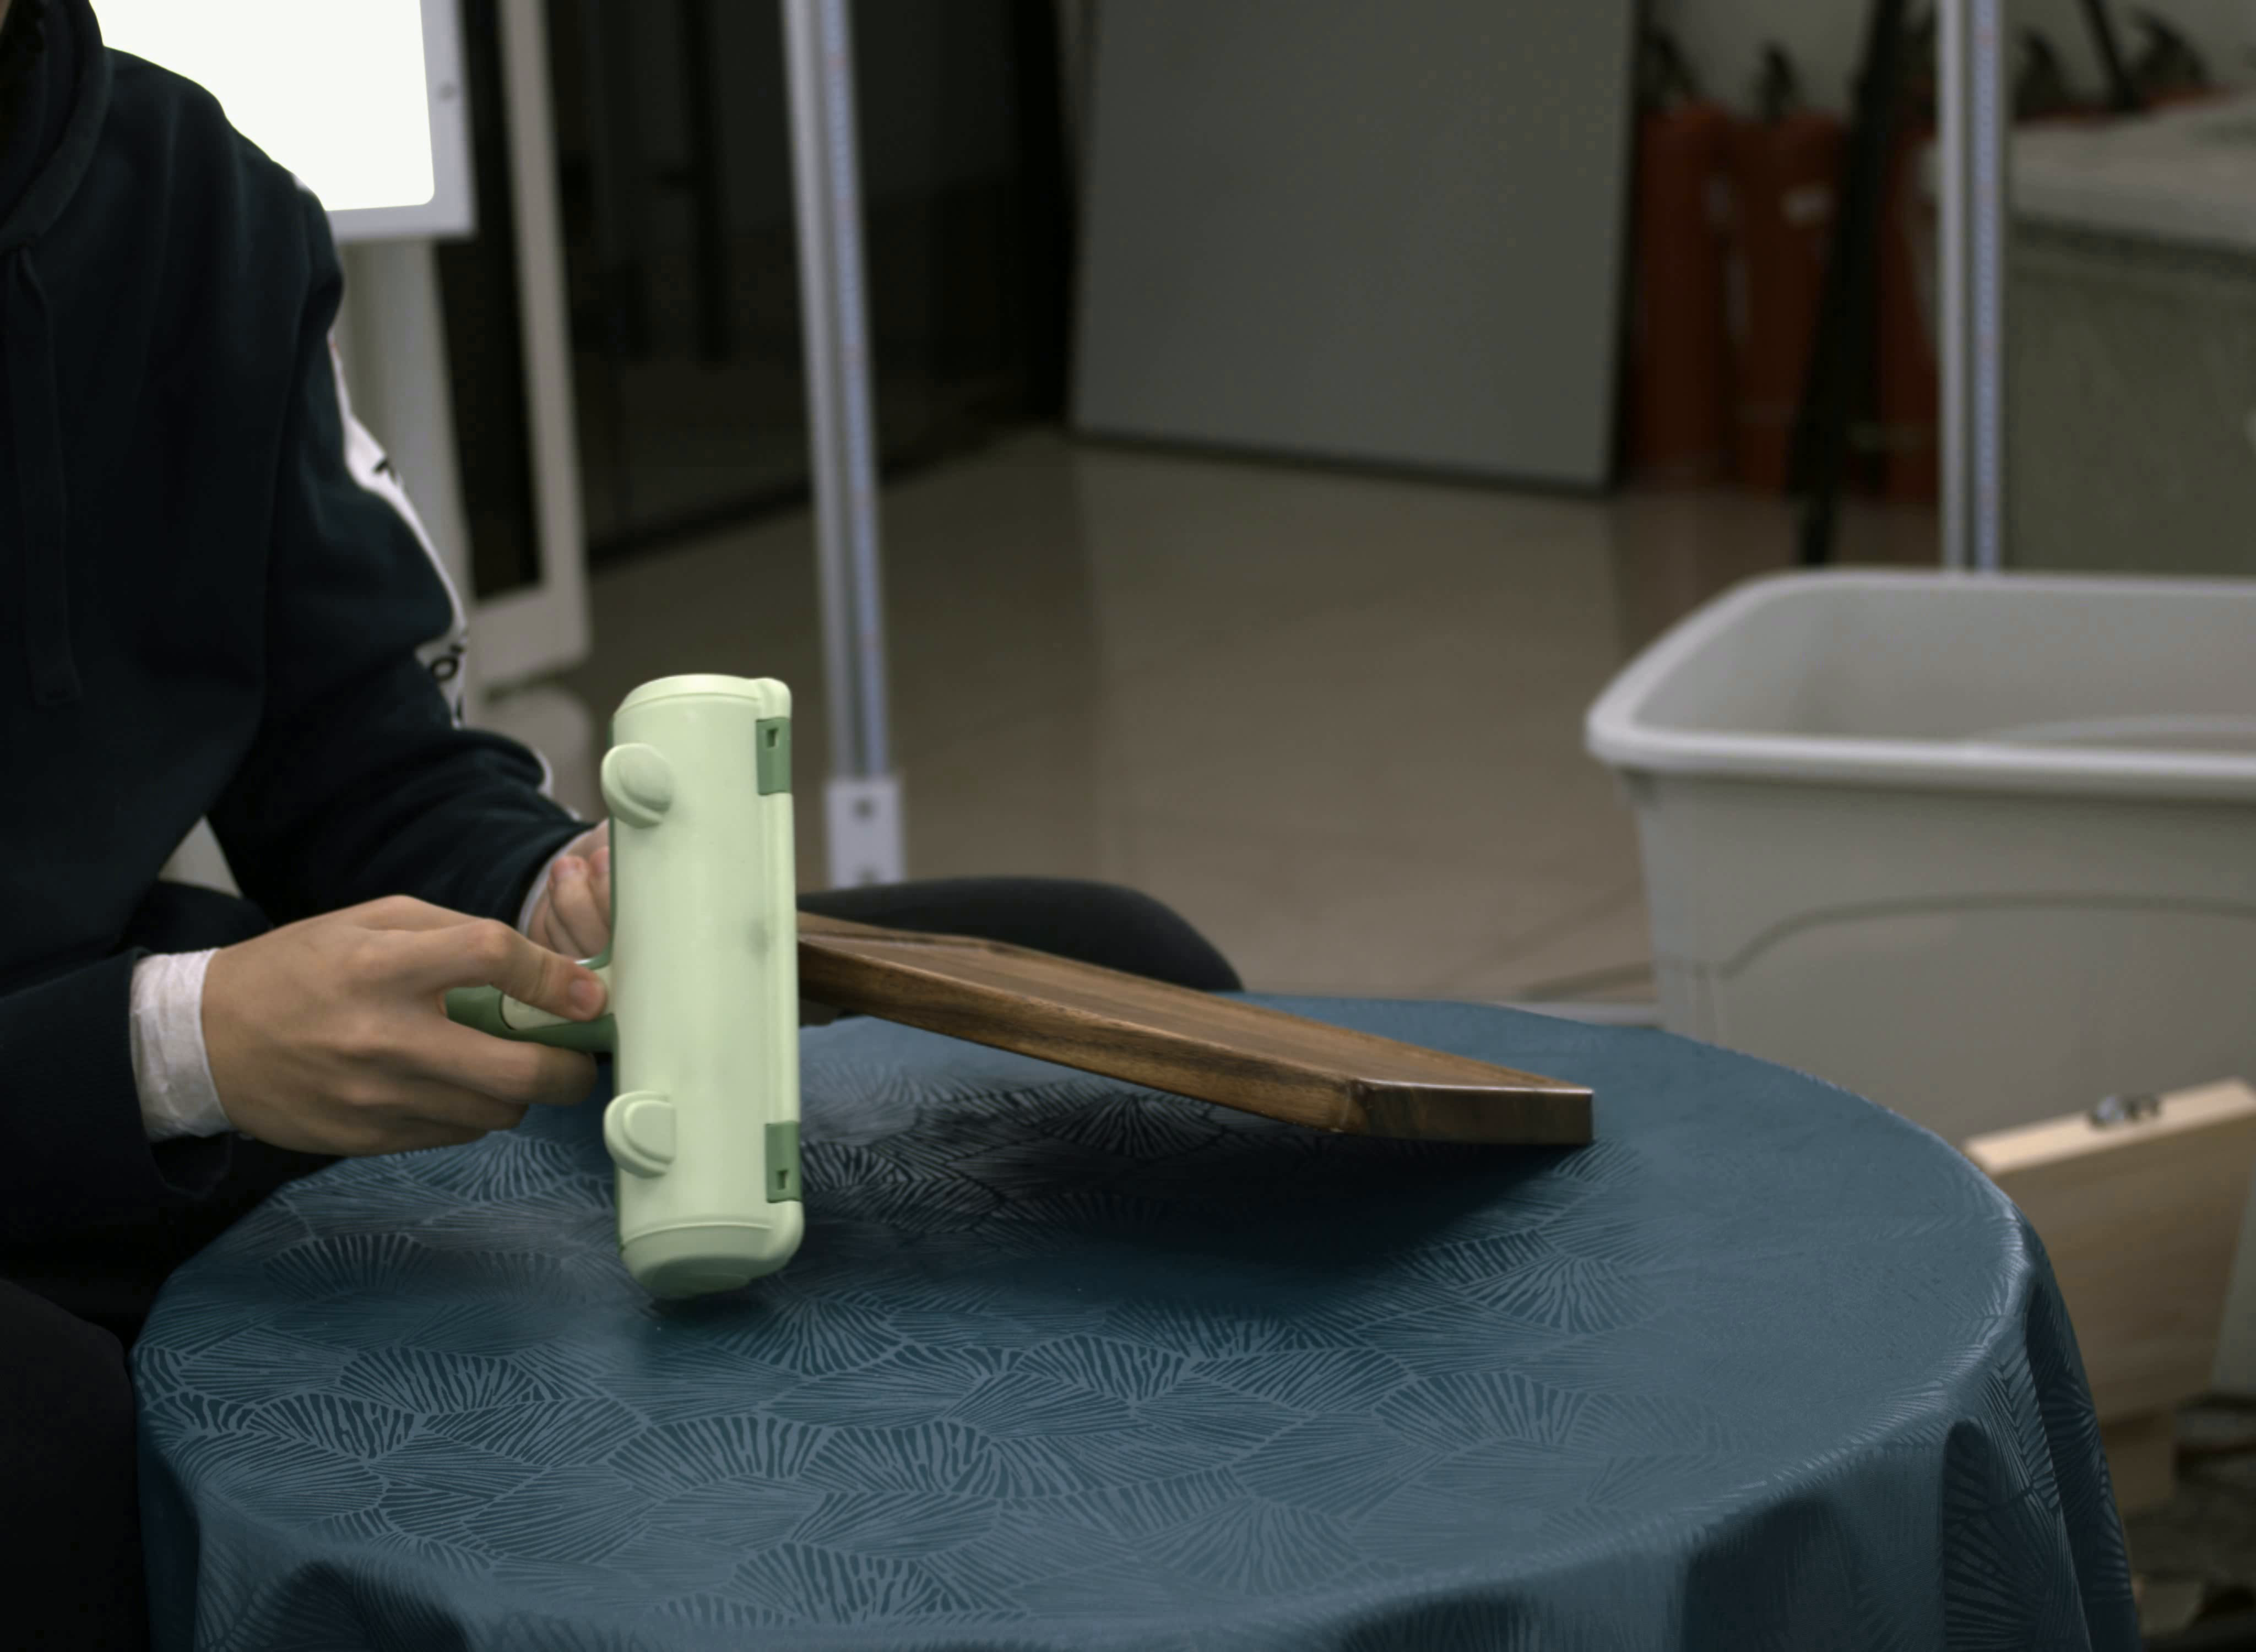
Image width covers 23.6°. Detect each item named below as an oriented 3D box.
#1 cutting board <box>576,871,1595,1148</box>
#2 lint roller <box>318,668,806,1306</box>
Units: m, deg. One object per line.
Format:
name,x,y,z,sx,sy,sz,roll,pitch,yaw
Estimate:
cutting board,-0.035,0.059,1.792,0.353,0.023,0.198,12,1,29
lint roller,-0.187,0.056,1.717,0.183,0.201,0.081,-10,-22,18
